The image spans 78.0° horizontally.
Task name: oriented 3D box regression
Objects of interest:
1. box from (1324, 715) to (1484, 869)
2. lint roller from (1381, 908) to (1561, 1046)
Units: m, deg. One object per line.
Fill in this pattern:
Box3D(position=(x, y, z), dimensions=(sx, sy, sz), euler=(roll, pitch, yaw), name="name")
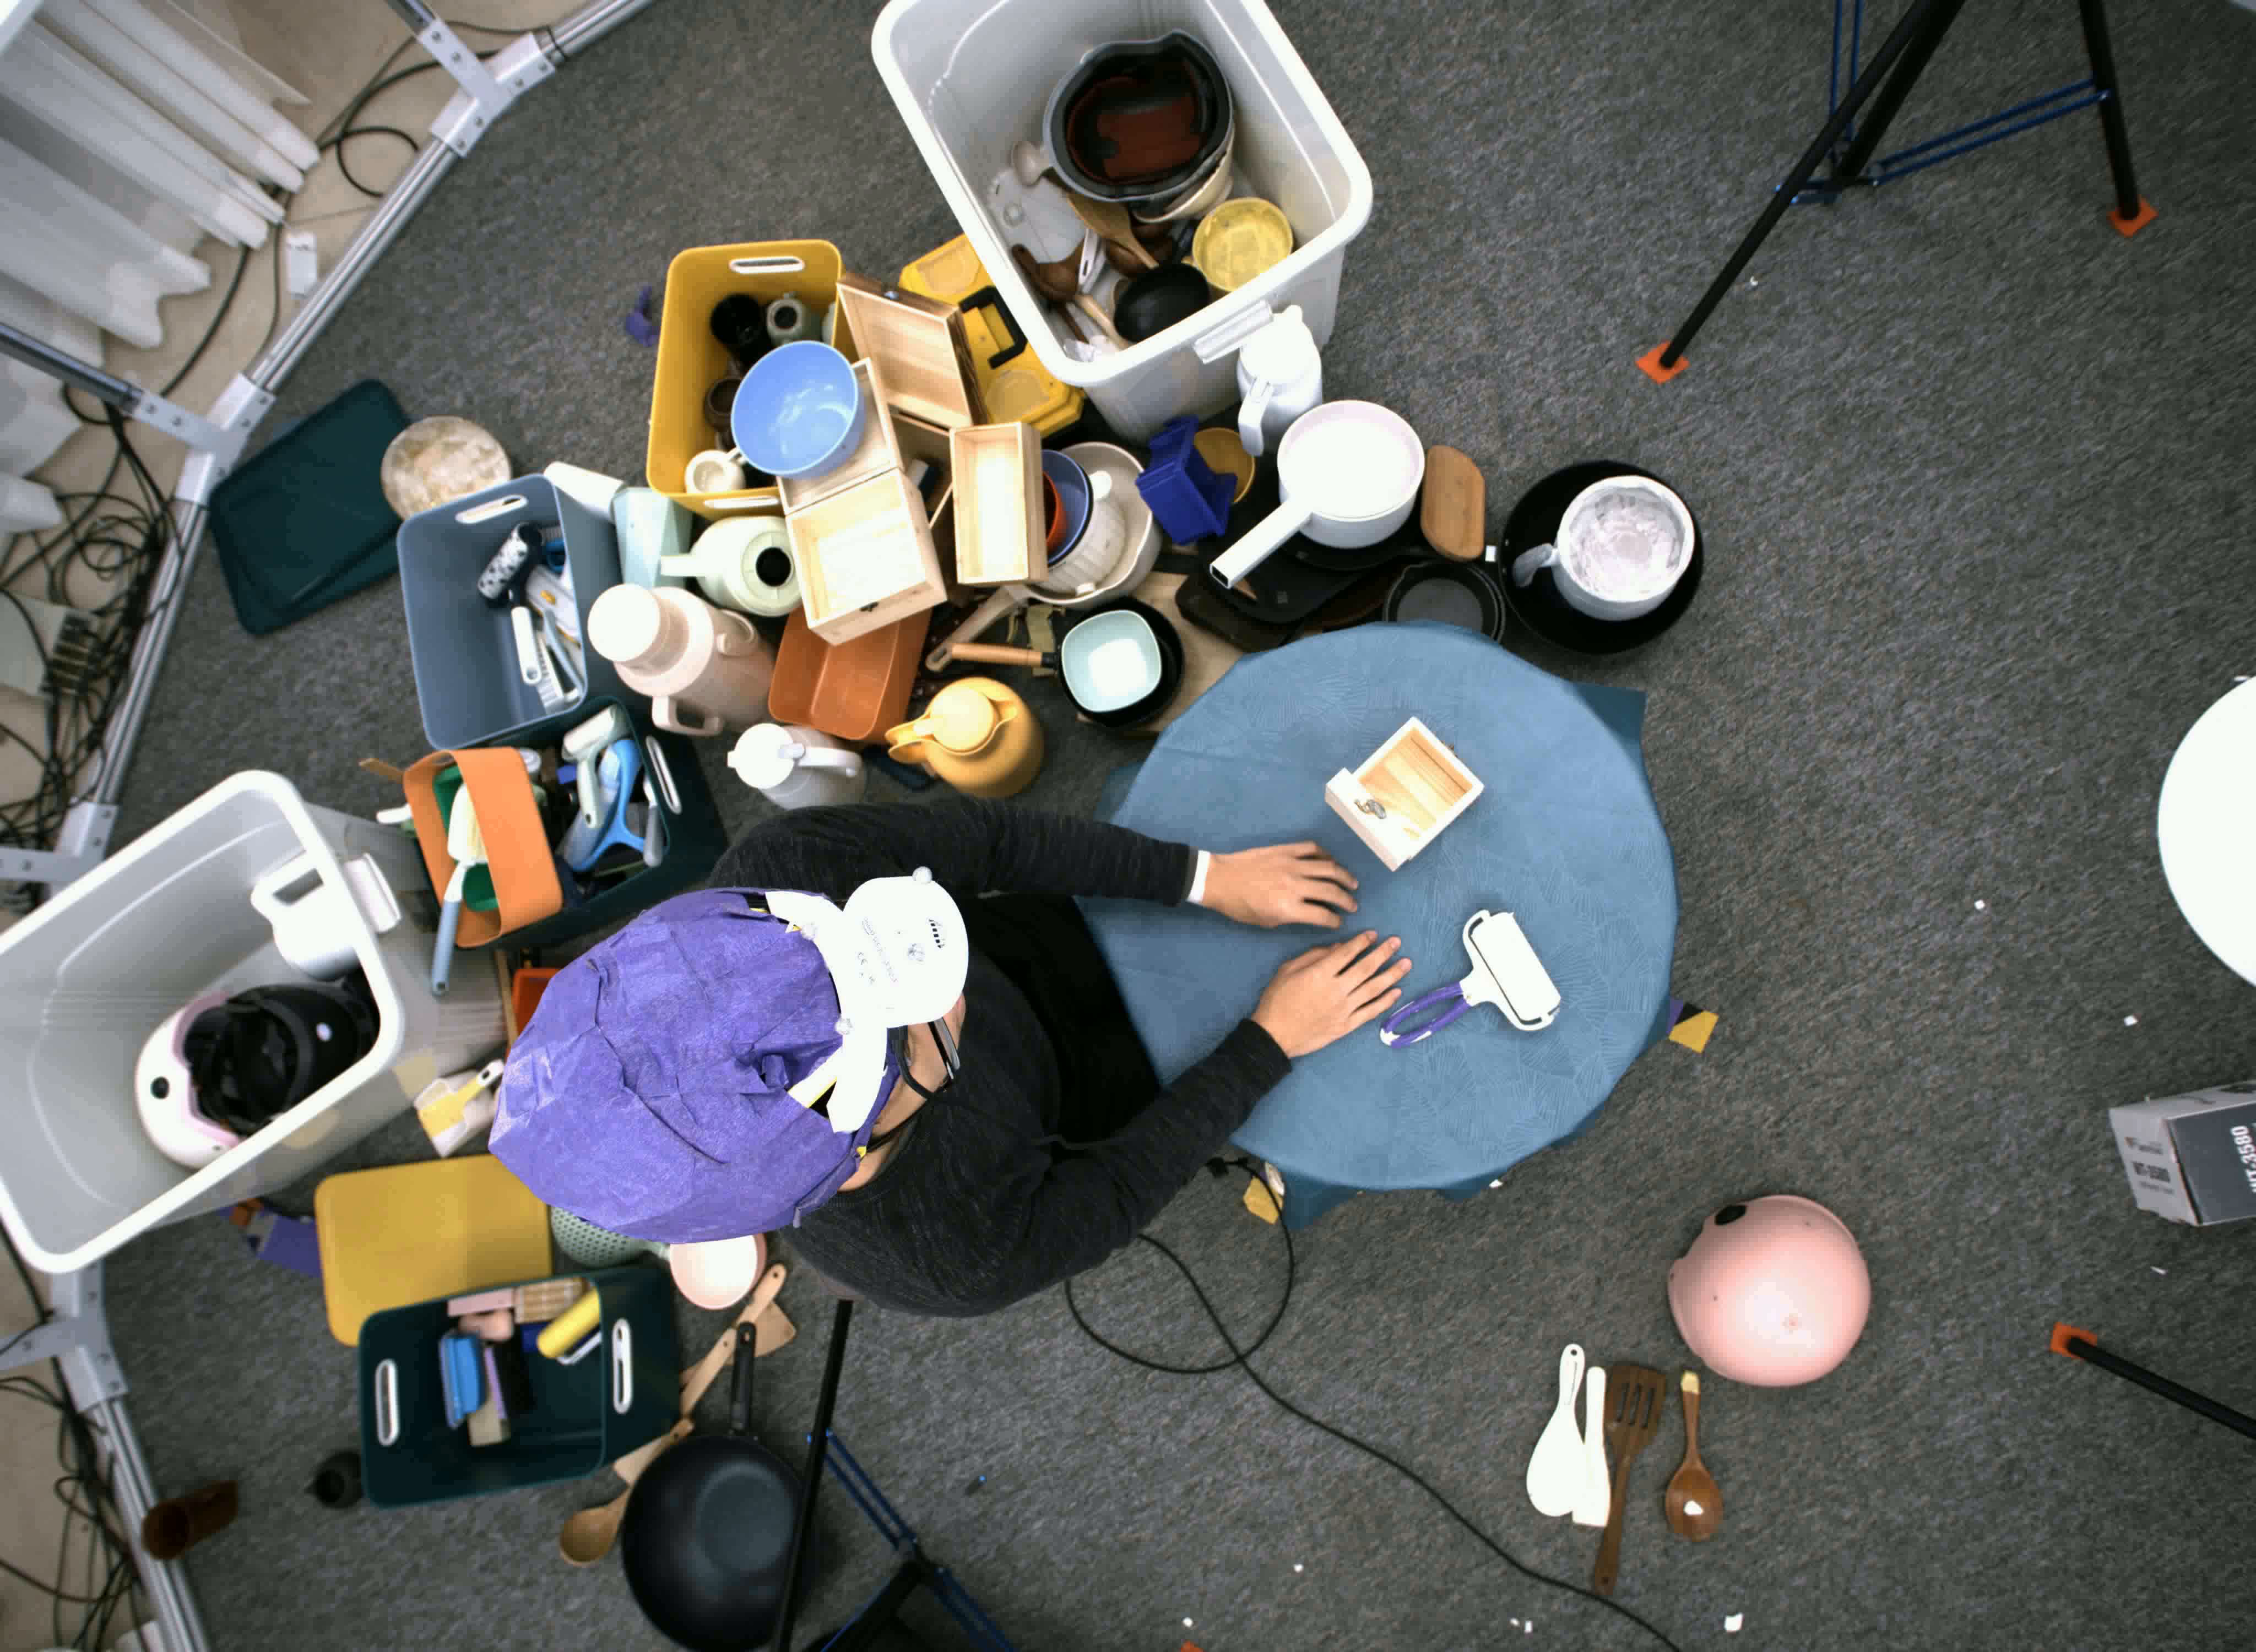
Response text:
Box3D(position=(0.277, -0.039, 1.372), dimensions=(0.134, 0.184, 0.102), euler=(-44, 79, 4), name="box")
Box3D(position=(0.339, 0.173, 1.417), dimensions=(0.181, 0.050, 0.132), euler=(-28, 83, 6), name="lint roller")
